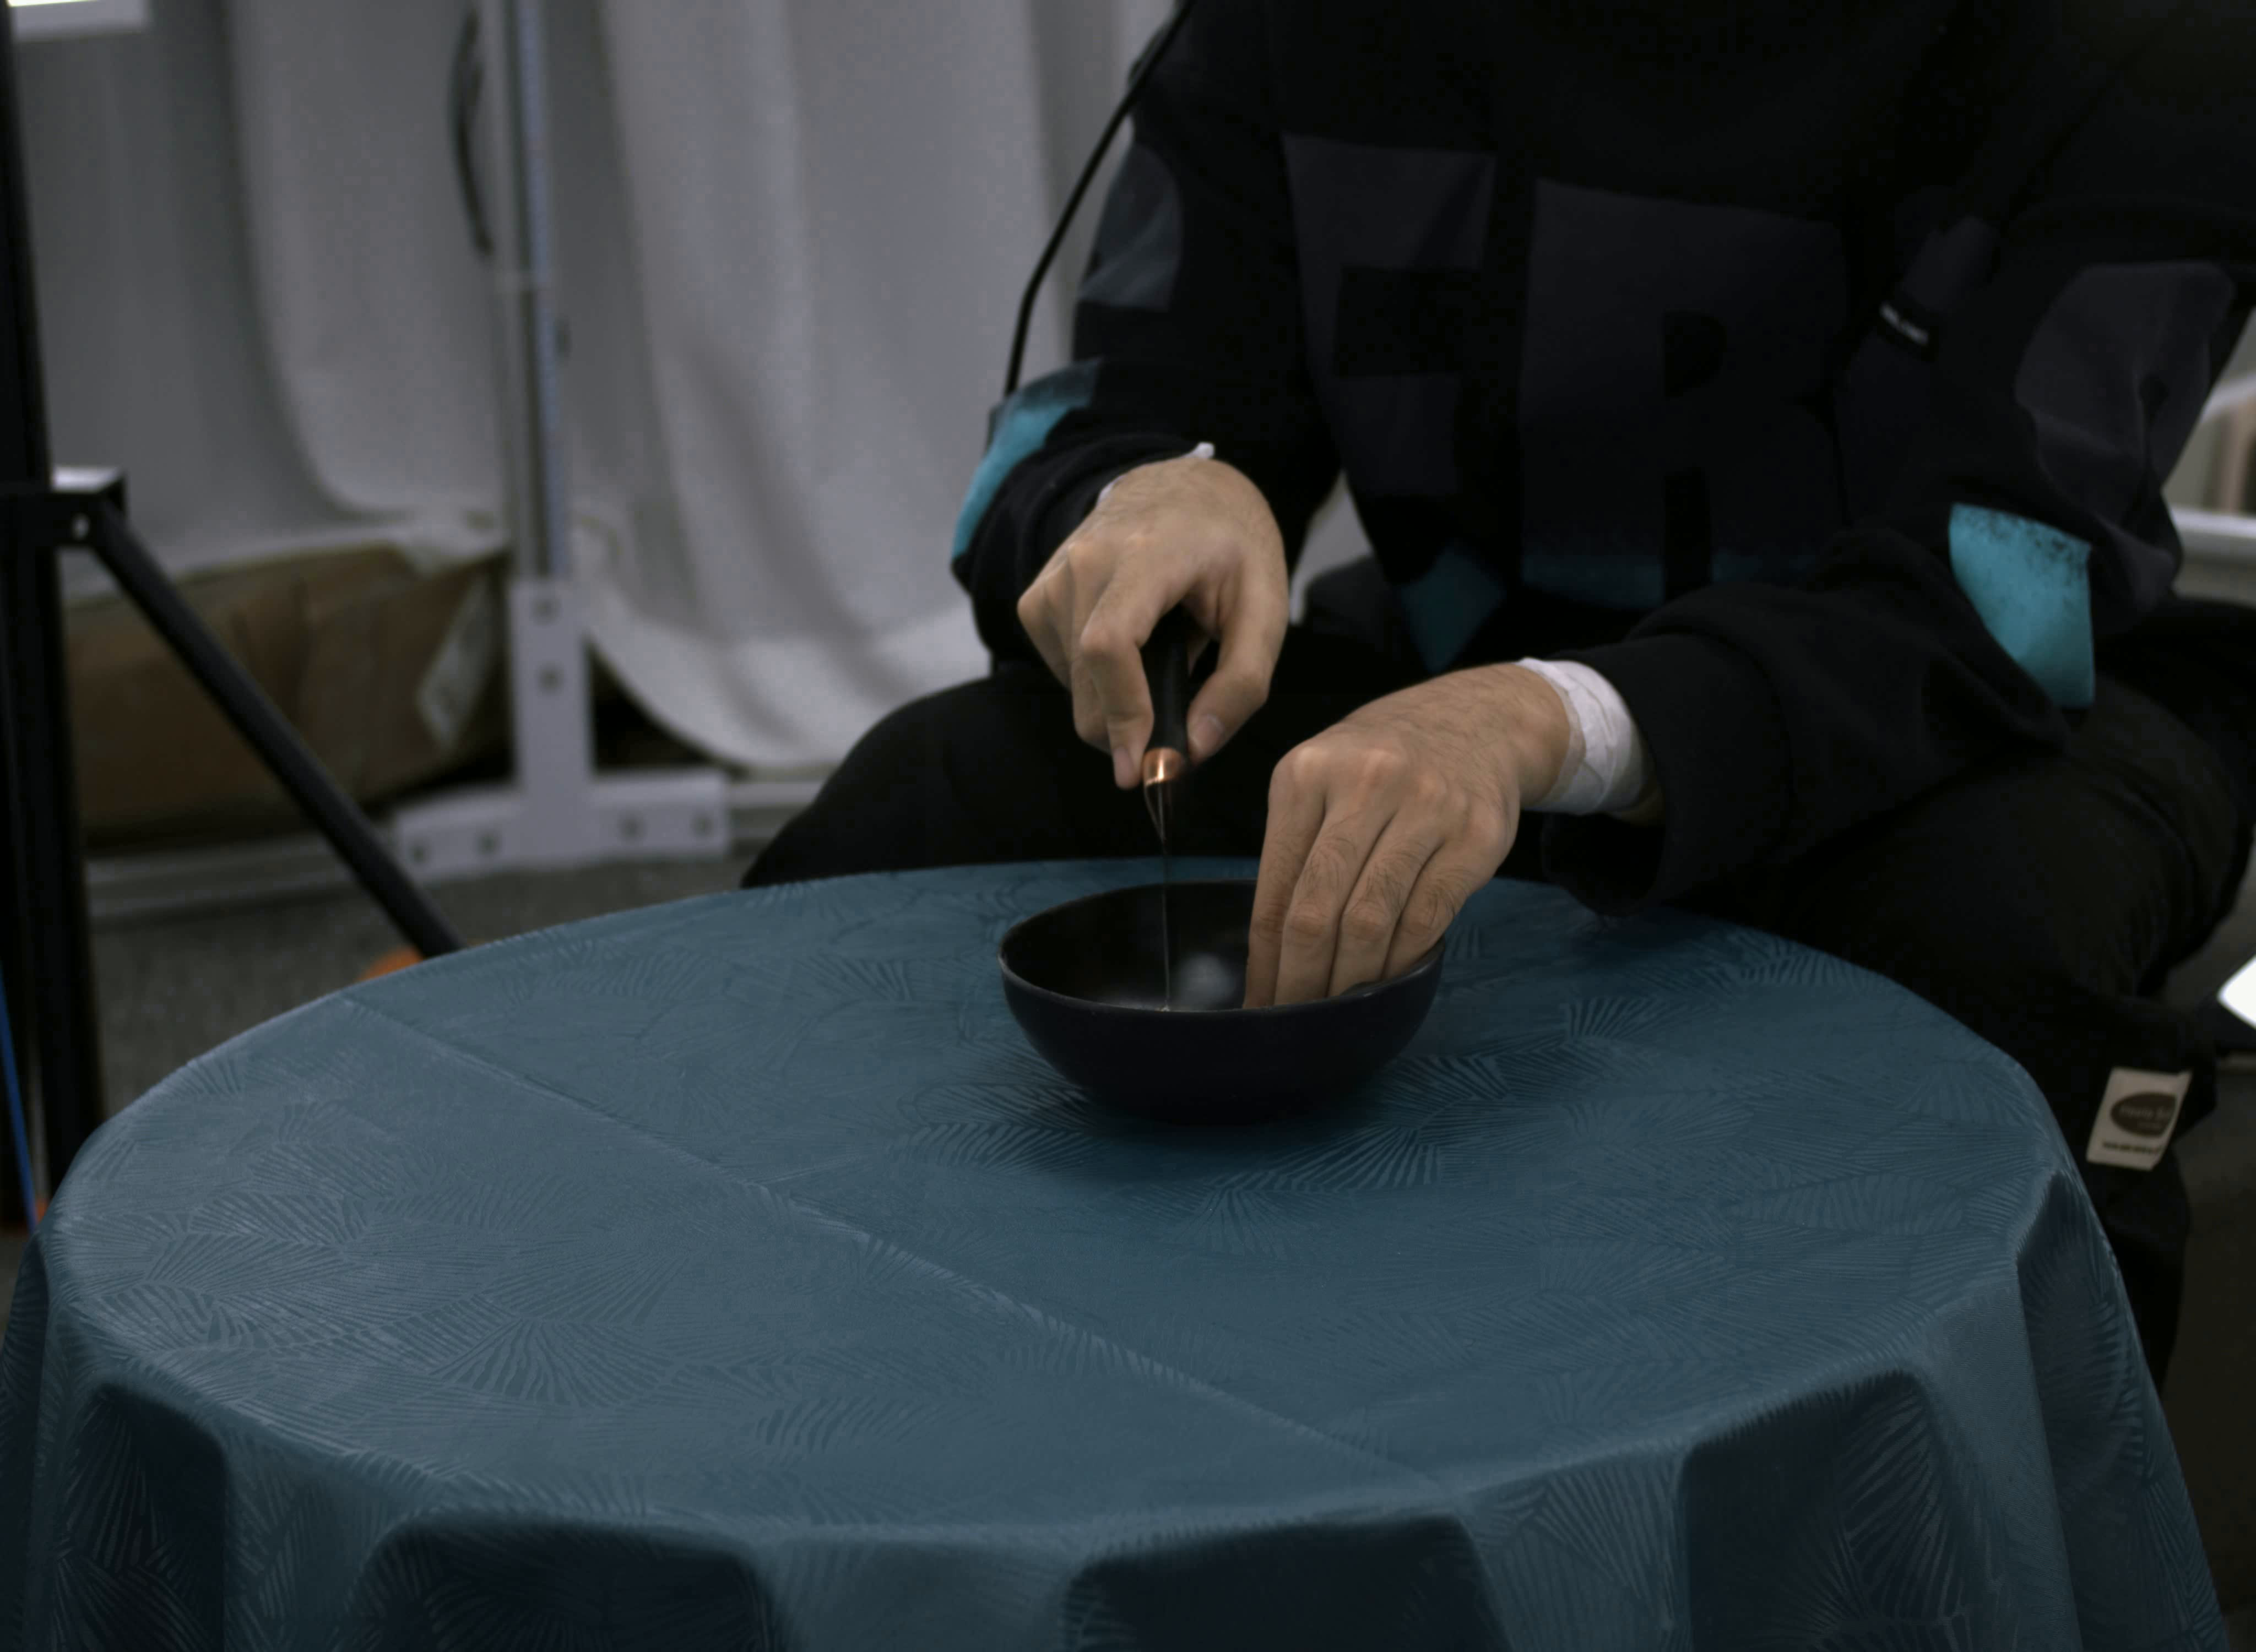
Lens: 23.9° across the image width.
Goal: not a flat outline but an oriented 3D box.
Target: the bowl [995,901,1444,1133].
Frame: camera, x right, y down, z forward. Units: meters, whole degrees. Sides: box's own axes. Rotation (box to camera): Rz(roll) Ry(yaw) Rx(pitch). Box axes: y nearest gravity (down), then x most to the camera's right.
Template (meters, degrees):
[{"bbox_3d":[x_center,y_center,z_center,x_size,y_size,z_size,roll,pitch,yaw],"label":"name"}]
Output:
[{"bbox_3d":[0.029,0.062,1.635,0.139,0.050,0.140,-3,11,-1],"label":"bowl"}]

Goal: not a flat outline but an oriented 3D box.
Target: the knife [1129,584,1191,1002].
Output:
[{"bbox_3d":[0.013,-0.003,1.683,0.017,0.026,0.228,-11,39,6],"label":"knife"}]
